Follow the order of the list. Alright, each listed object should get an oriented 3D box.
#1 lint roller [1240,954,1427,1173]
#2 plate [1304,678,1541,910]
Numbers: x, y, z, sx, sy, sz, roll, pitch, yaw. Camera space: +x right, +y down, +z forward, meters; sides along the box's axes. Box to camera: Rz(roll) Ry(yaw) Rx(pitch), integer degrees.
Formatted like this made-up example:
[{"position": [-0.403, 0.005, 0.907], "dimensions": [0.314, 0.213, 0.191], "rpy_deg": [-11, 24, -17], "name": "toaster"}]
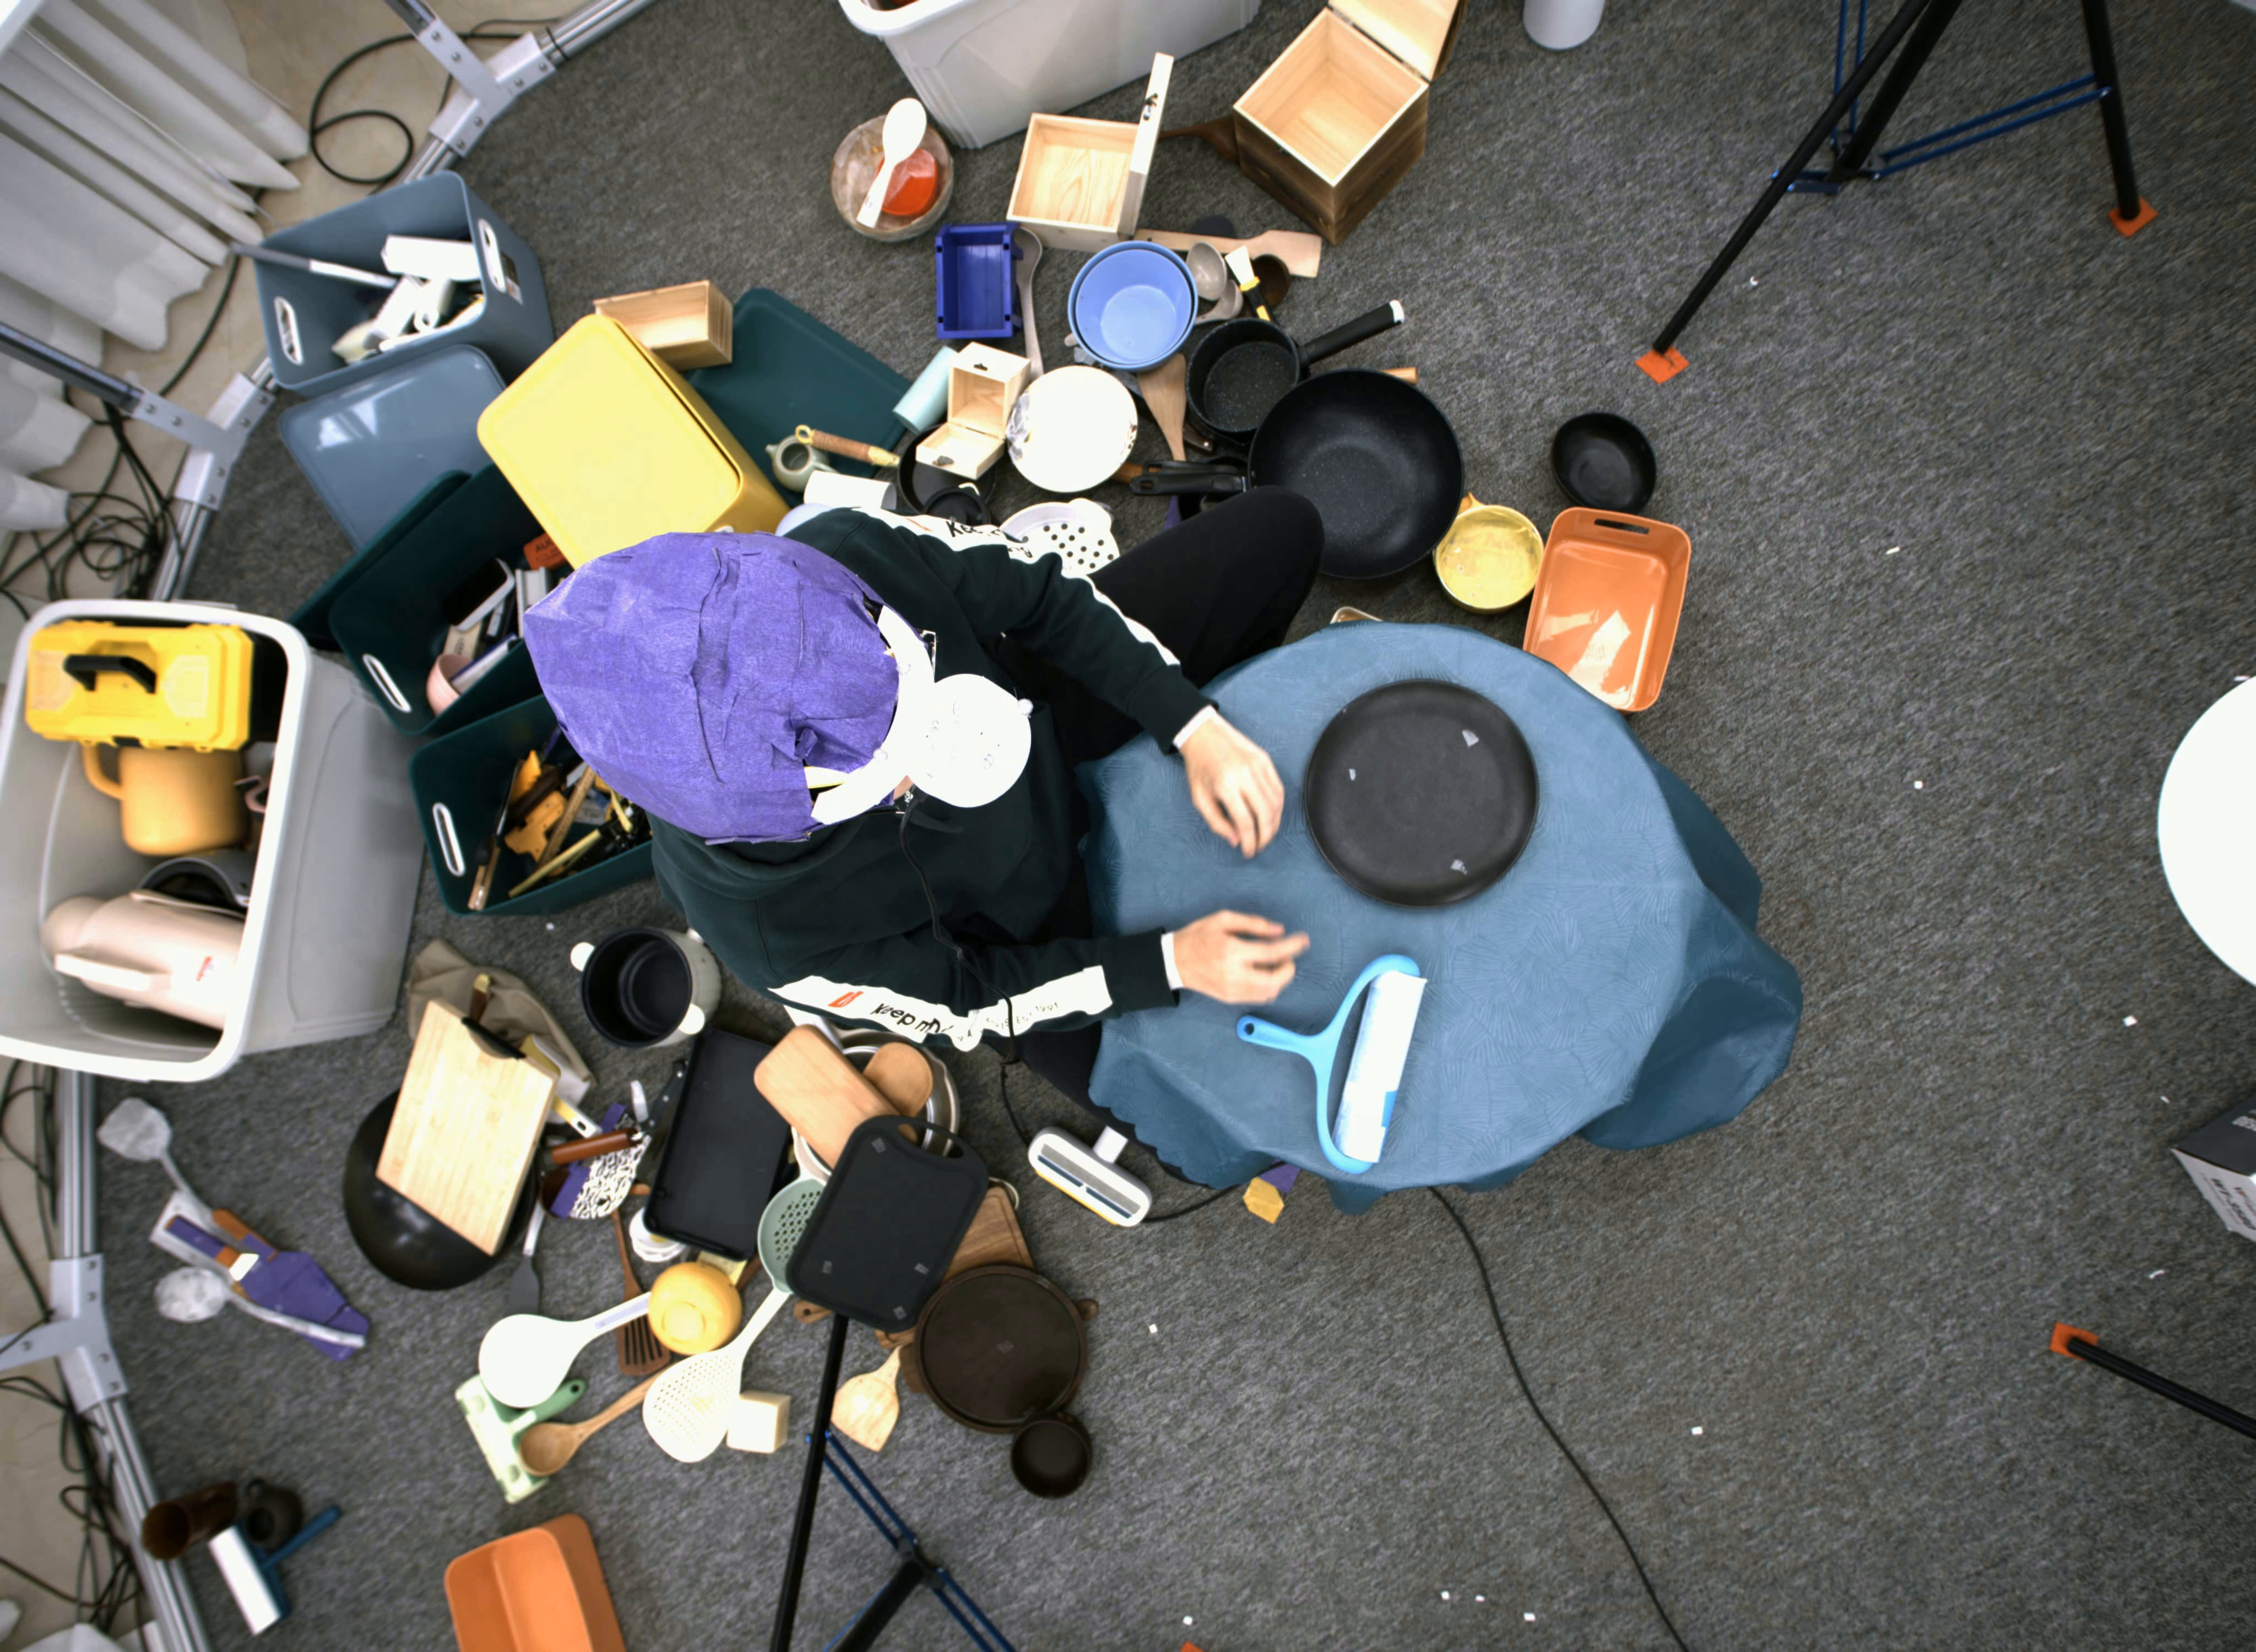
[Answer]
[{"position": [0.201, 0.231, 1.431], "dimensions": [0.180, 0.068, 0.229], "rpy_deg": [11, 90, 10], "name": "lint roller"}, {"position": [0.307, -0.036, 1.442], "dimensions": [0.245, 0.023, 0.243], "rpy_deg": [-1, 87, 10], "name": "plate"}]
